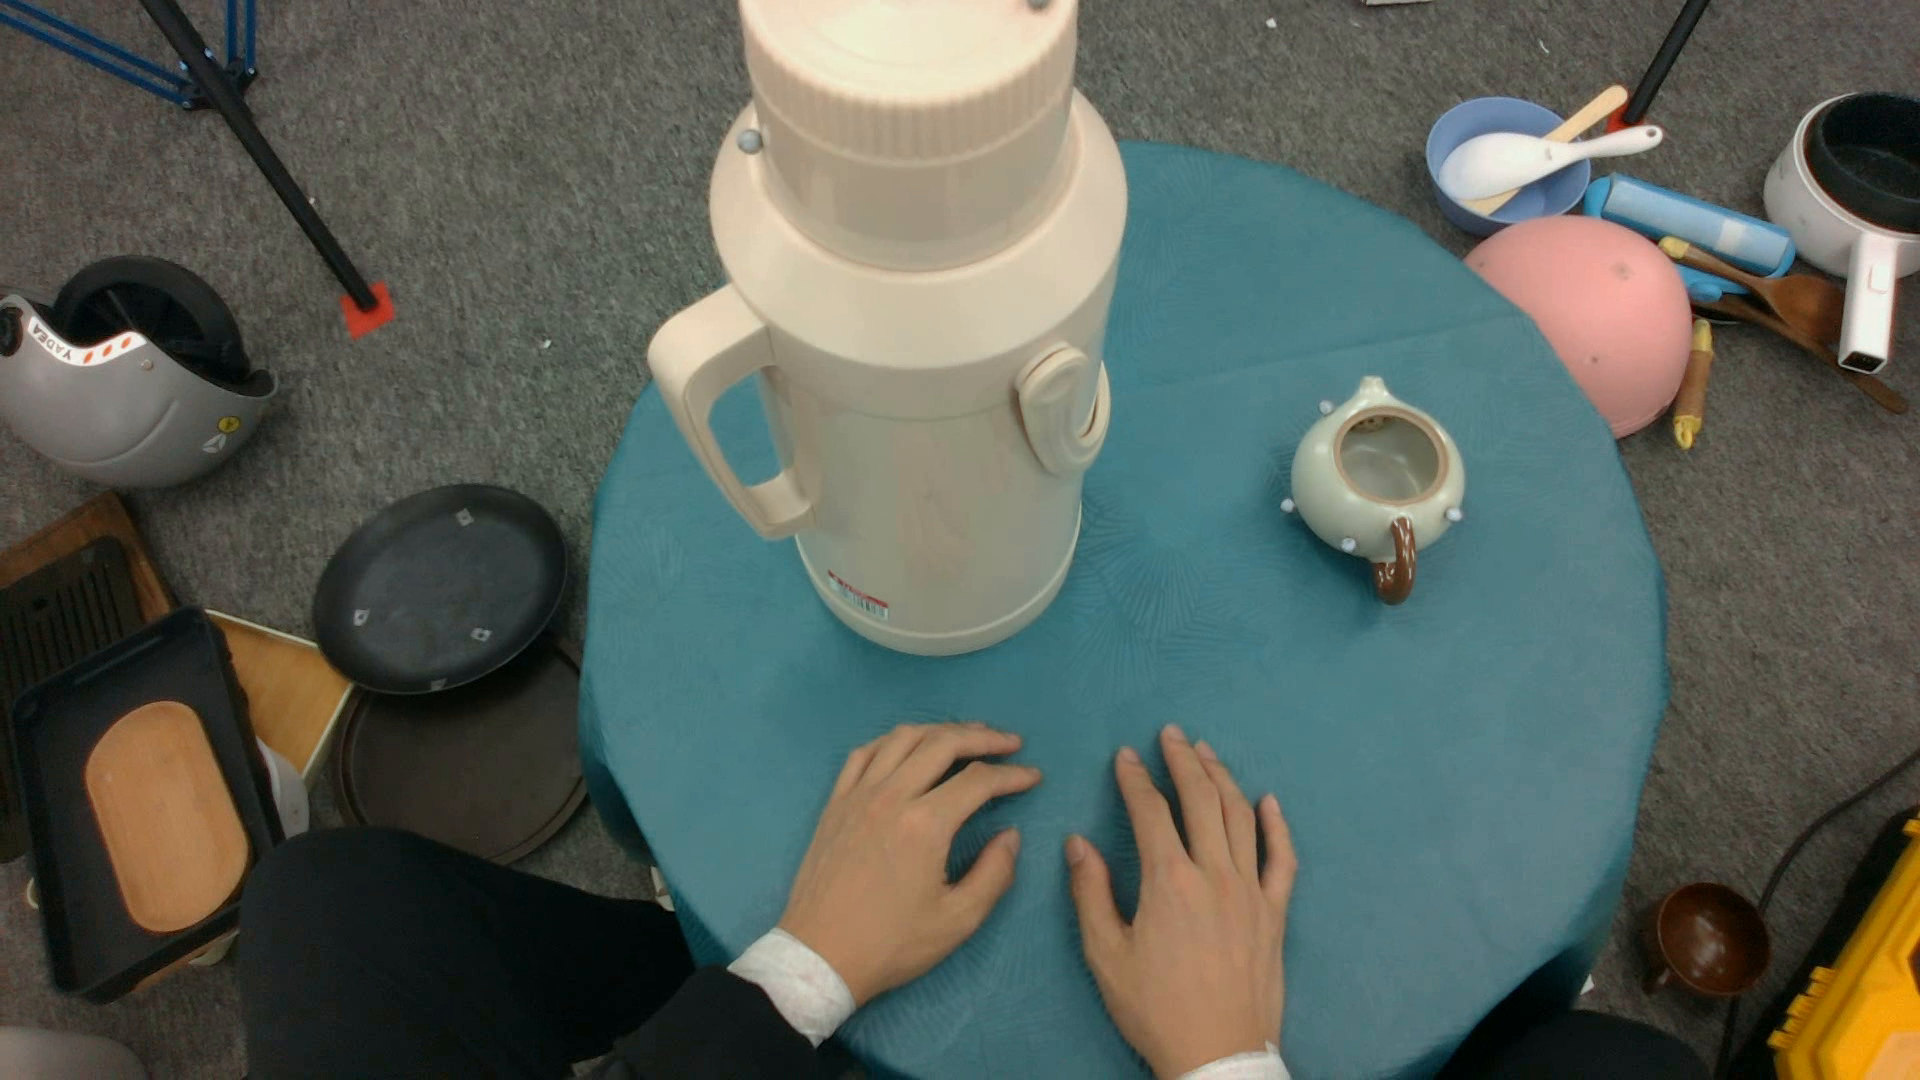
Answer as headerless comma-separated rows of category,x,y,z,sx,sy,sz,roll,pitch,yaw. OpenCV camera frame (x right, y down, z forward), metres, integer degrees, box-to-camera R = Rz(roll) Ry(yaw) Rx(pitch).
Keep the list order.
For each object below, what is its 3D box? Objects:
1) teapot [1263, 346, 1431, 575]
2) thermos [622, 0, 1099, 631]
teapot,0.216,-0.042,0.763,0.092,0.059,0.128,-3,65,-7
thermos,-0.039,-0.094,0.601,0.207,0.405,0.175,-36,72,-16
